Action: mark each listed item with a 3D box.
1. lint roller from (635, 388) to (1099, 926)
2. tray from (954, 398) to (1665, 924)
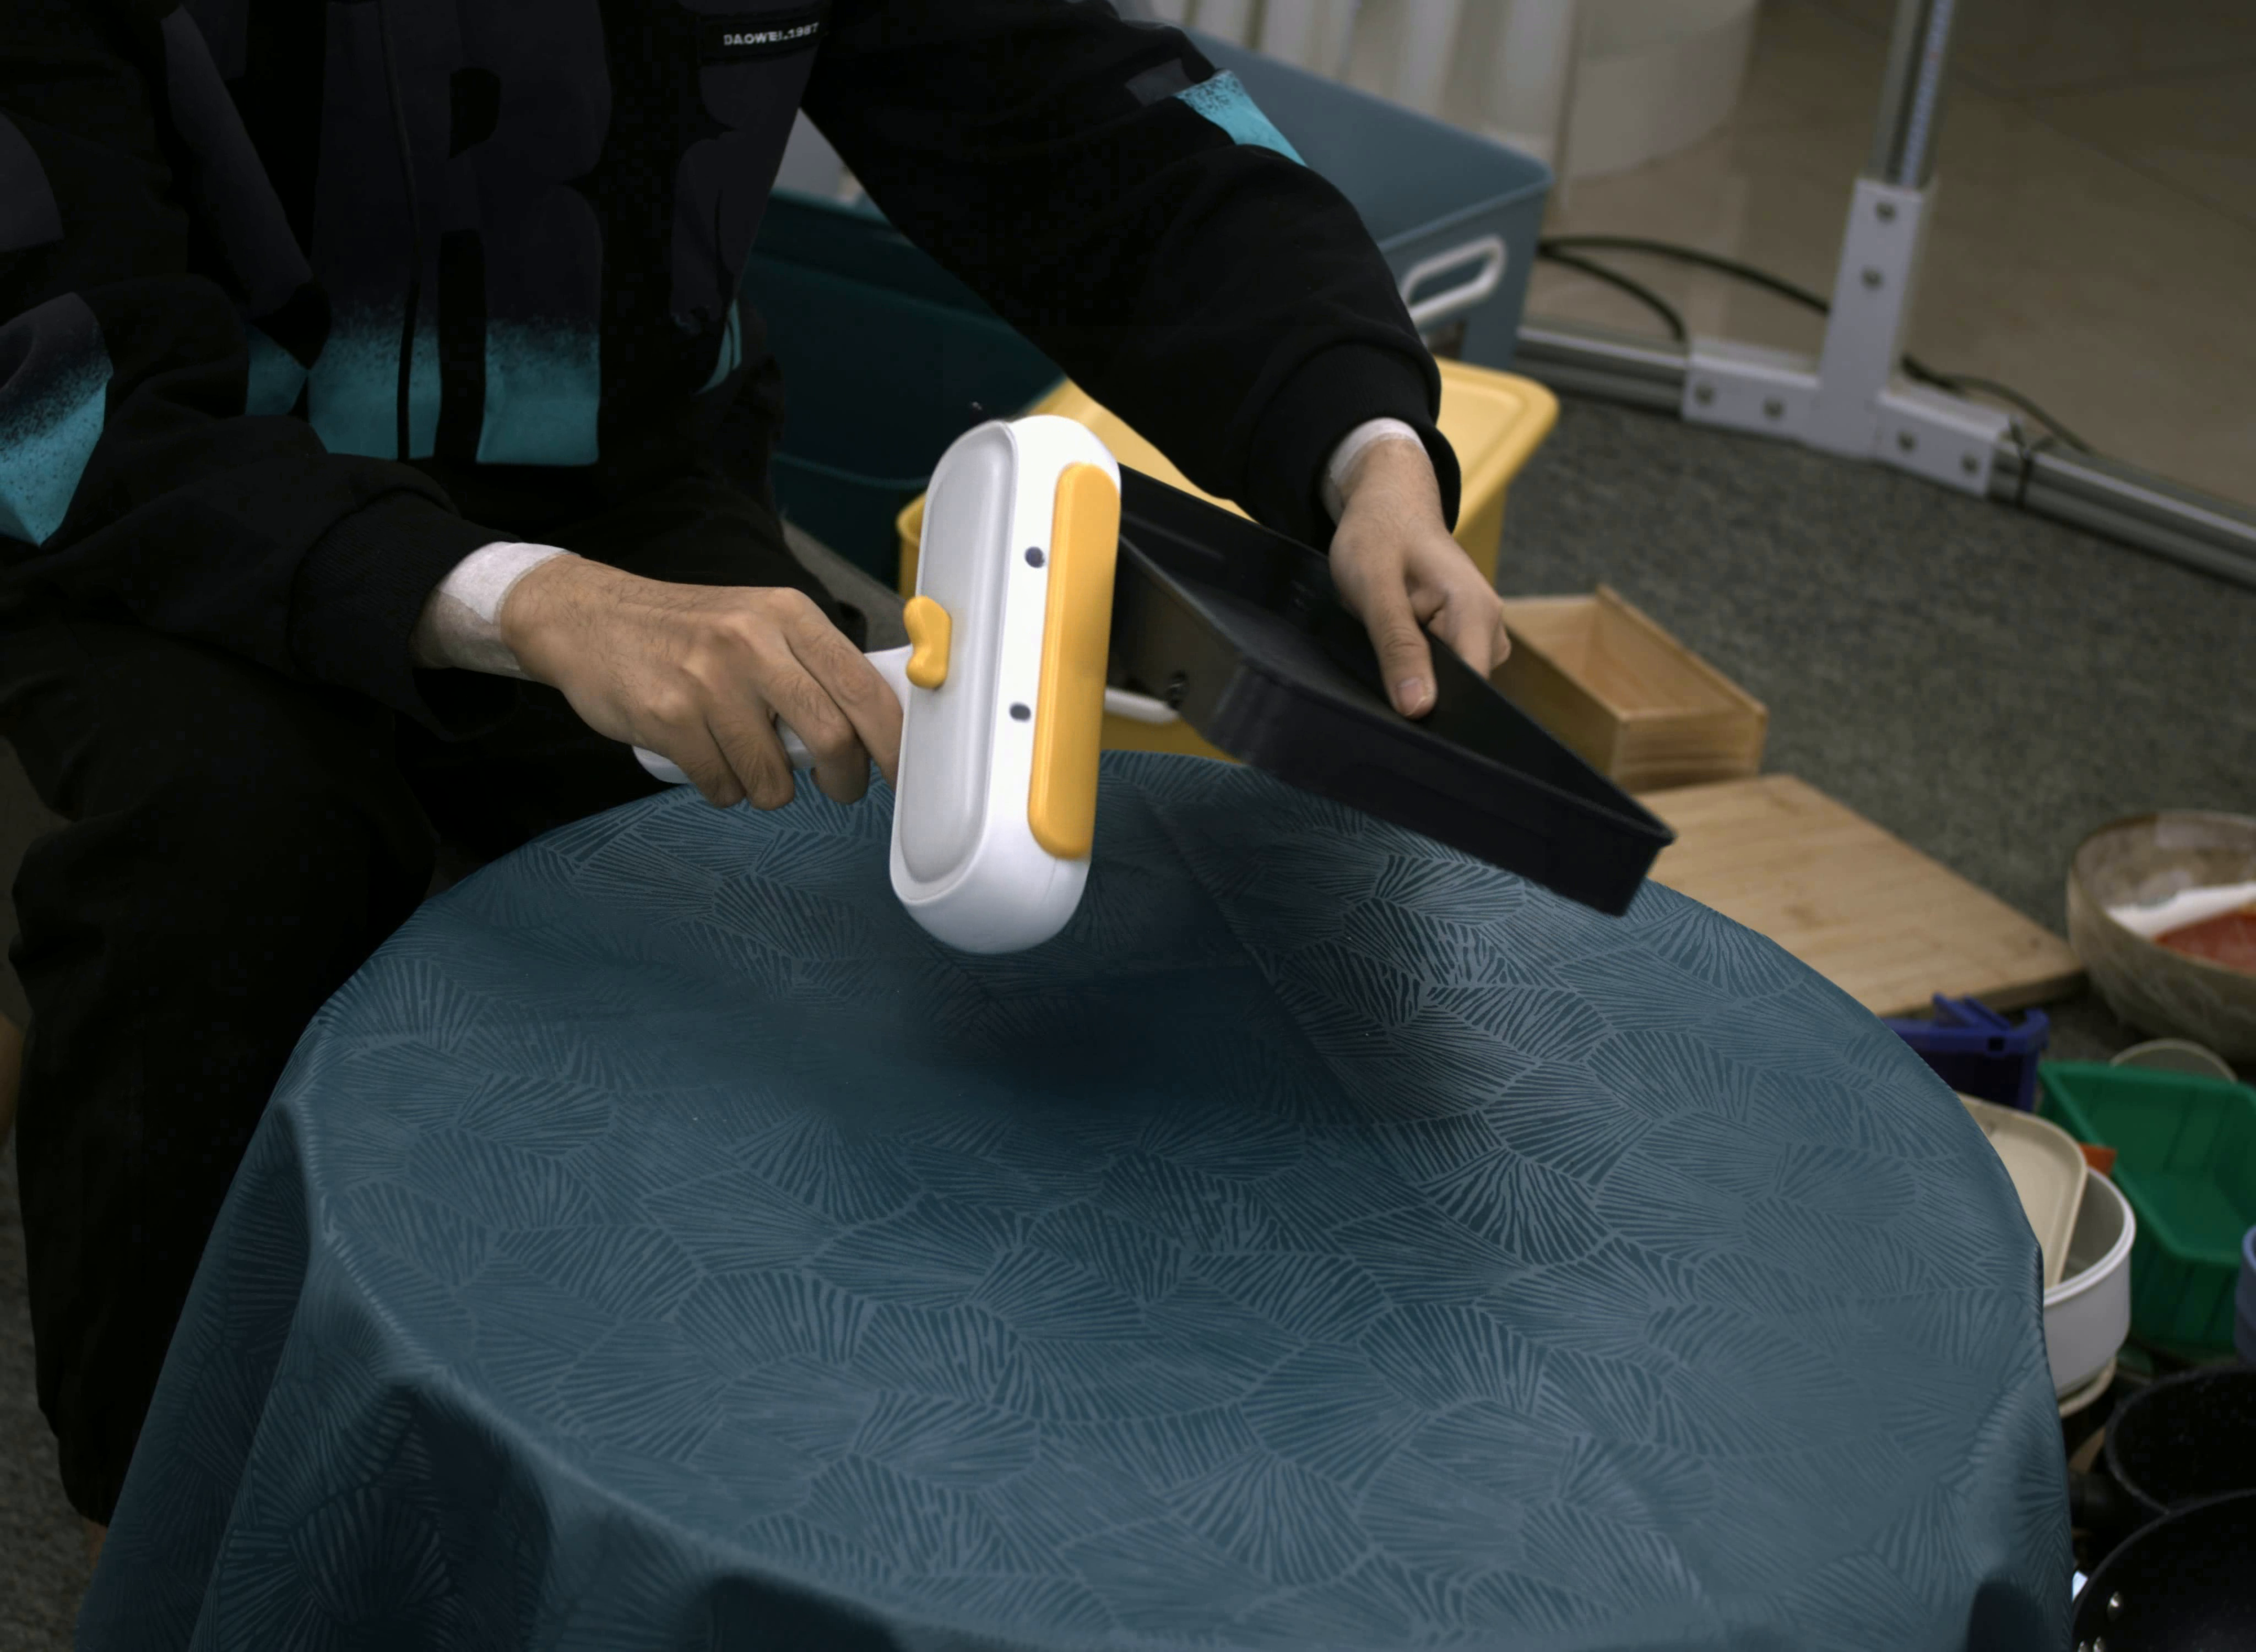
[{"bbox_3d":[-0.089,-0.045,1.860,0.193,0.194,0.073,-21,-29,39],"label":"lint roller"},{"bbox_3d":[0.053,-0.063,1.911,0.183,0.037,0.320,22,12,-28],"label":"tray"}]
